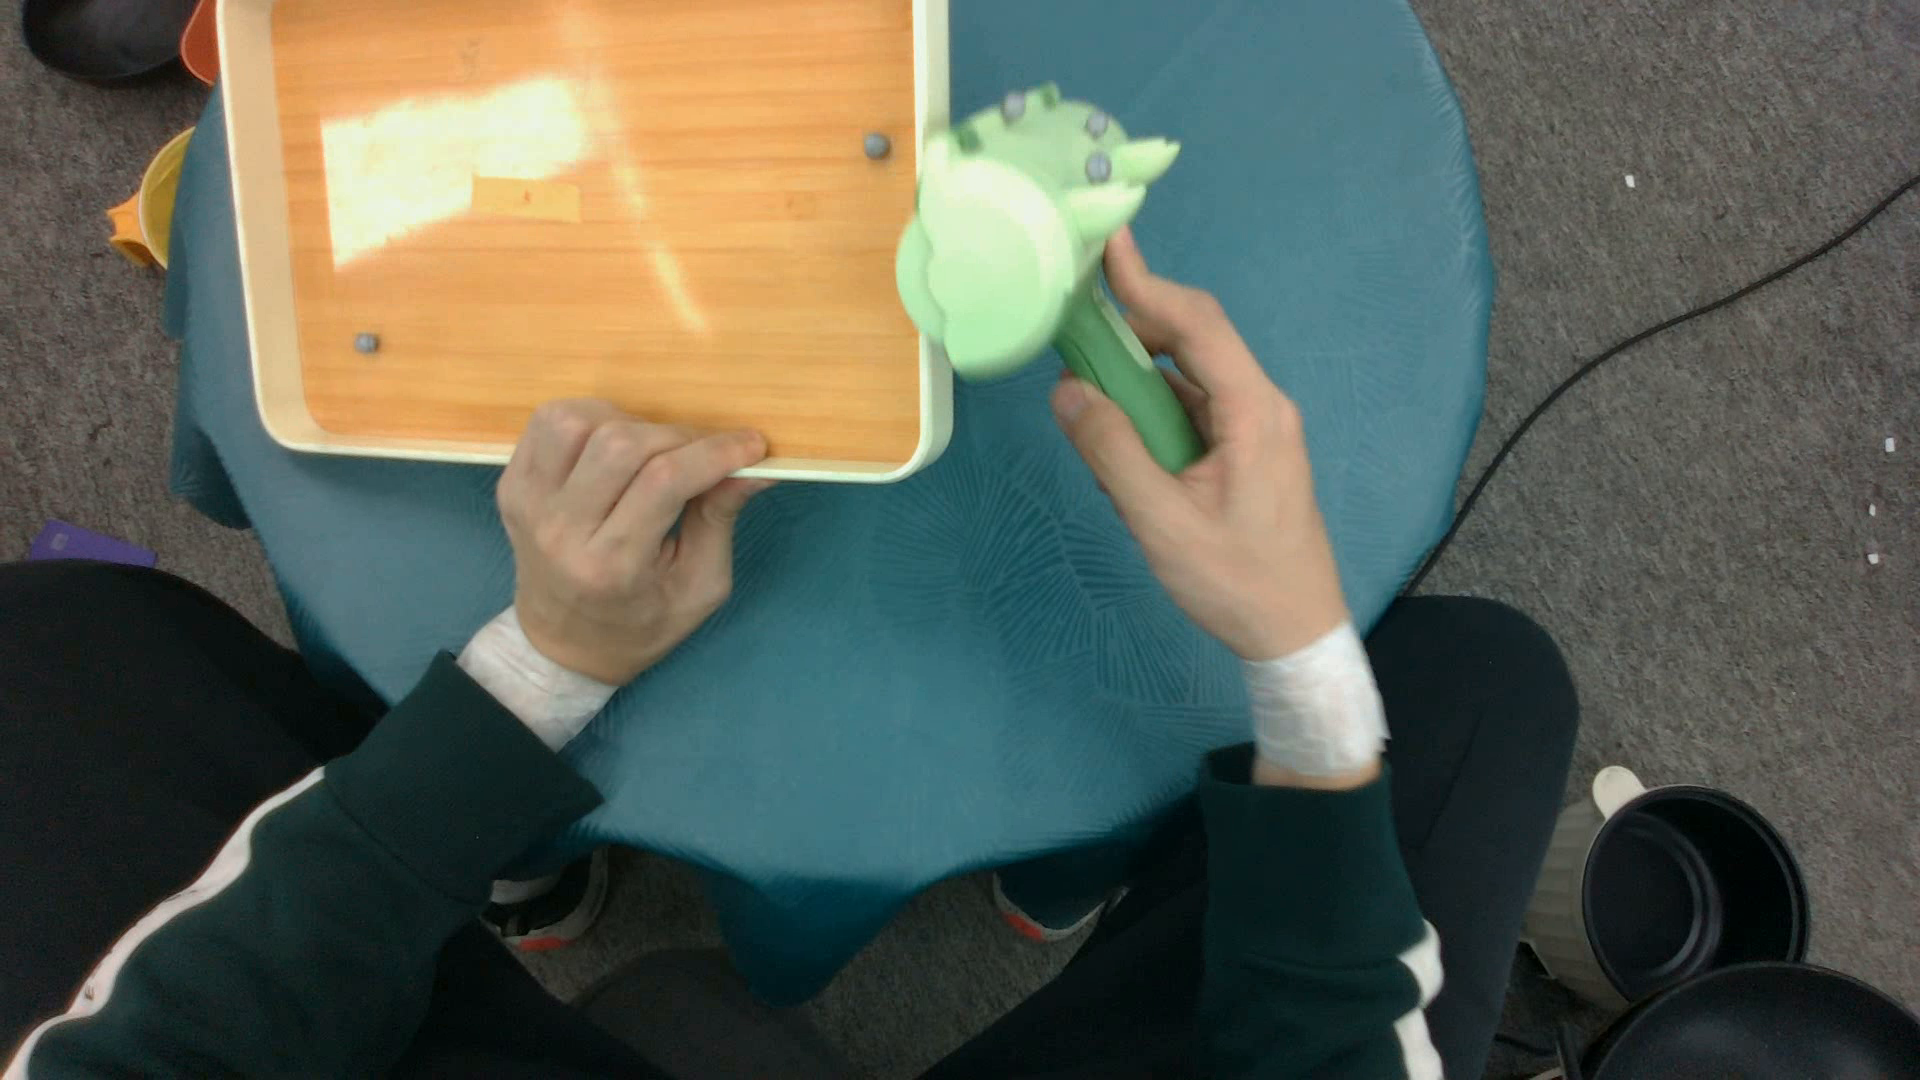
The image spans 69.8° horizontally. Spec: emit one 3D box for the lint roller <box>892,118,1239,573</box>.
[{"bbox_3d":[0.062,-0.073,0.501,0.082,0.199,0.183,-40,100,23],"label":"lint roller"}]

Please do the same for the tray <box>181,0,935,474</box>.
[{"bbox_3d":[-0.156,-0.123,0.514,0.300,0.027,0.191,3,103,19],"label":"tray"}]
